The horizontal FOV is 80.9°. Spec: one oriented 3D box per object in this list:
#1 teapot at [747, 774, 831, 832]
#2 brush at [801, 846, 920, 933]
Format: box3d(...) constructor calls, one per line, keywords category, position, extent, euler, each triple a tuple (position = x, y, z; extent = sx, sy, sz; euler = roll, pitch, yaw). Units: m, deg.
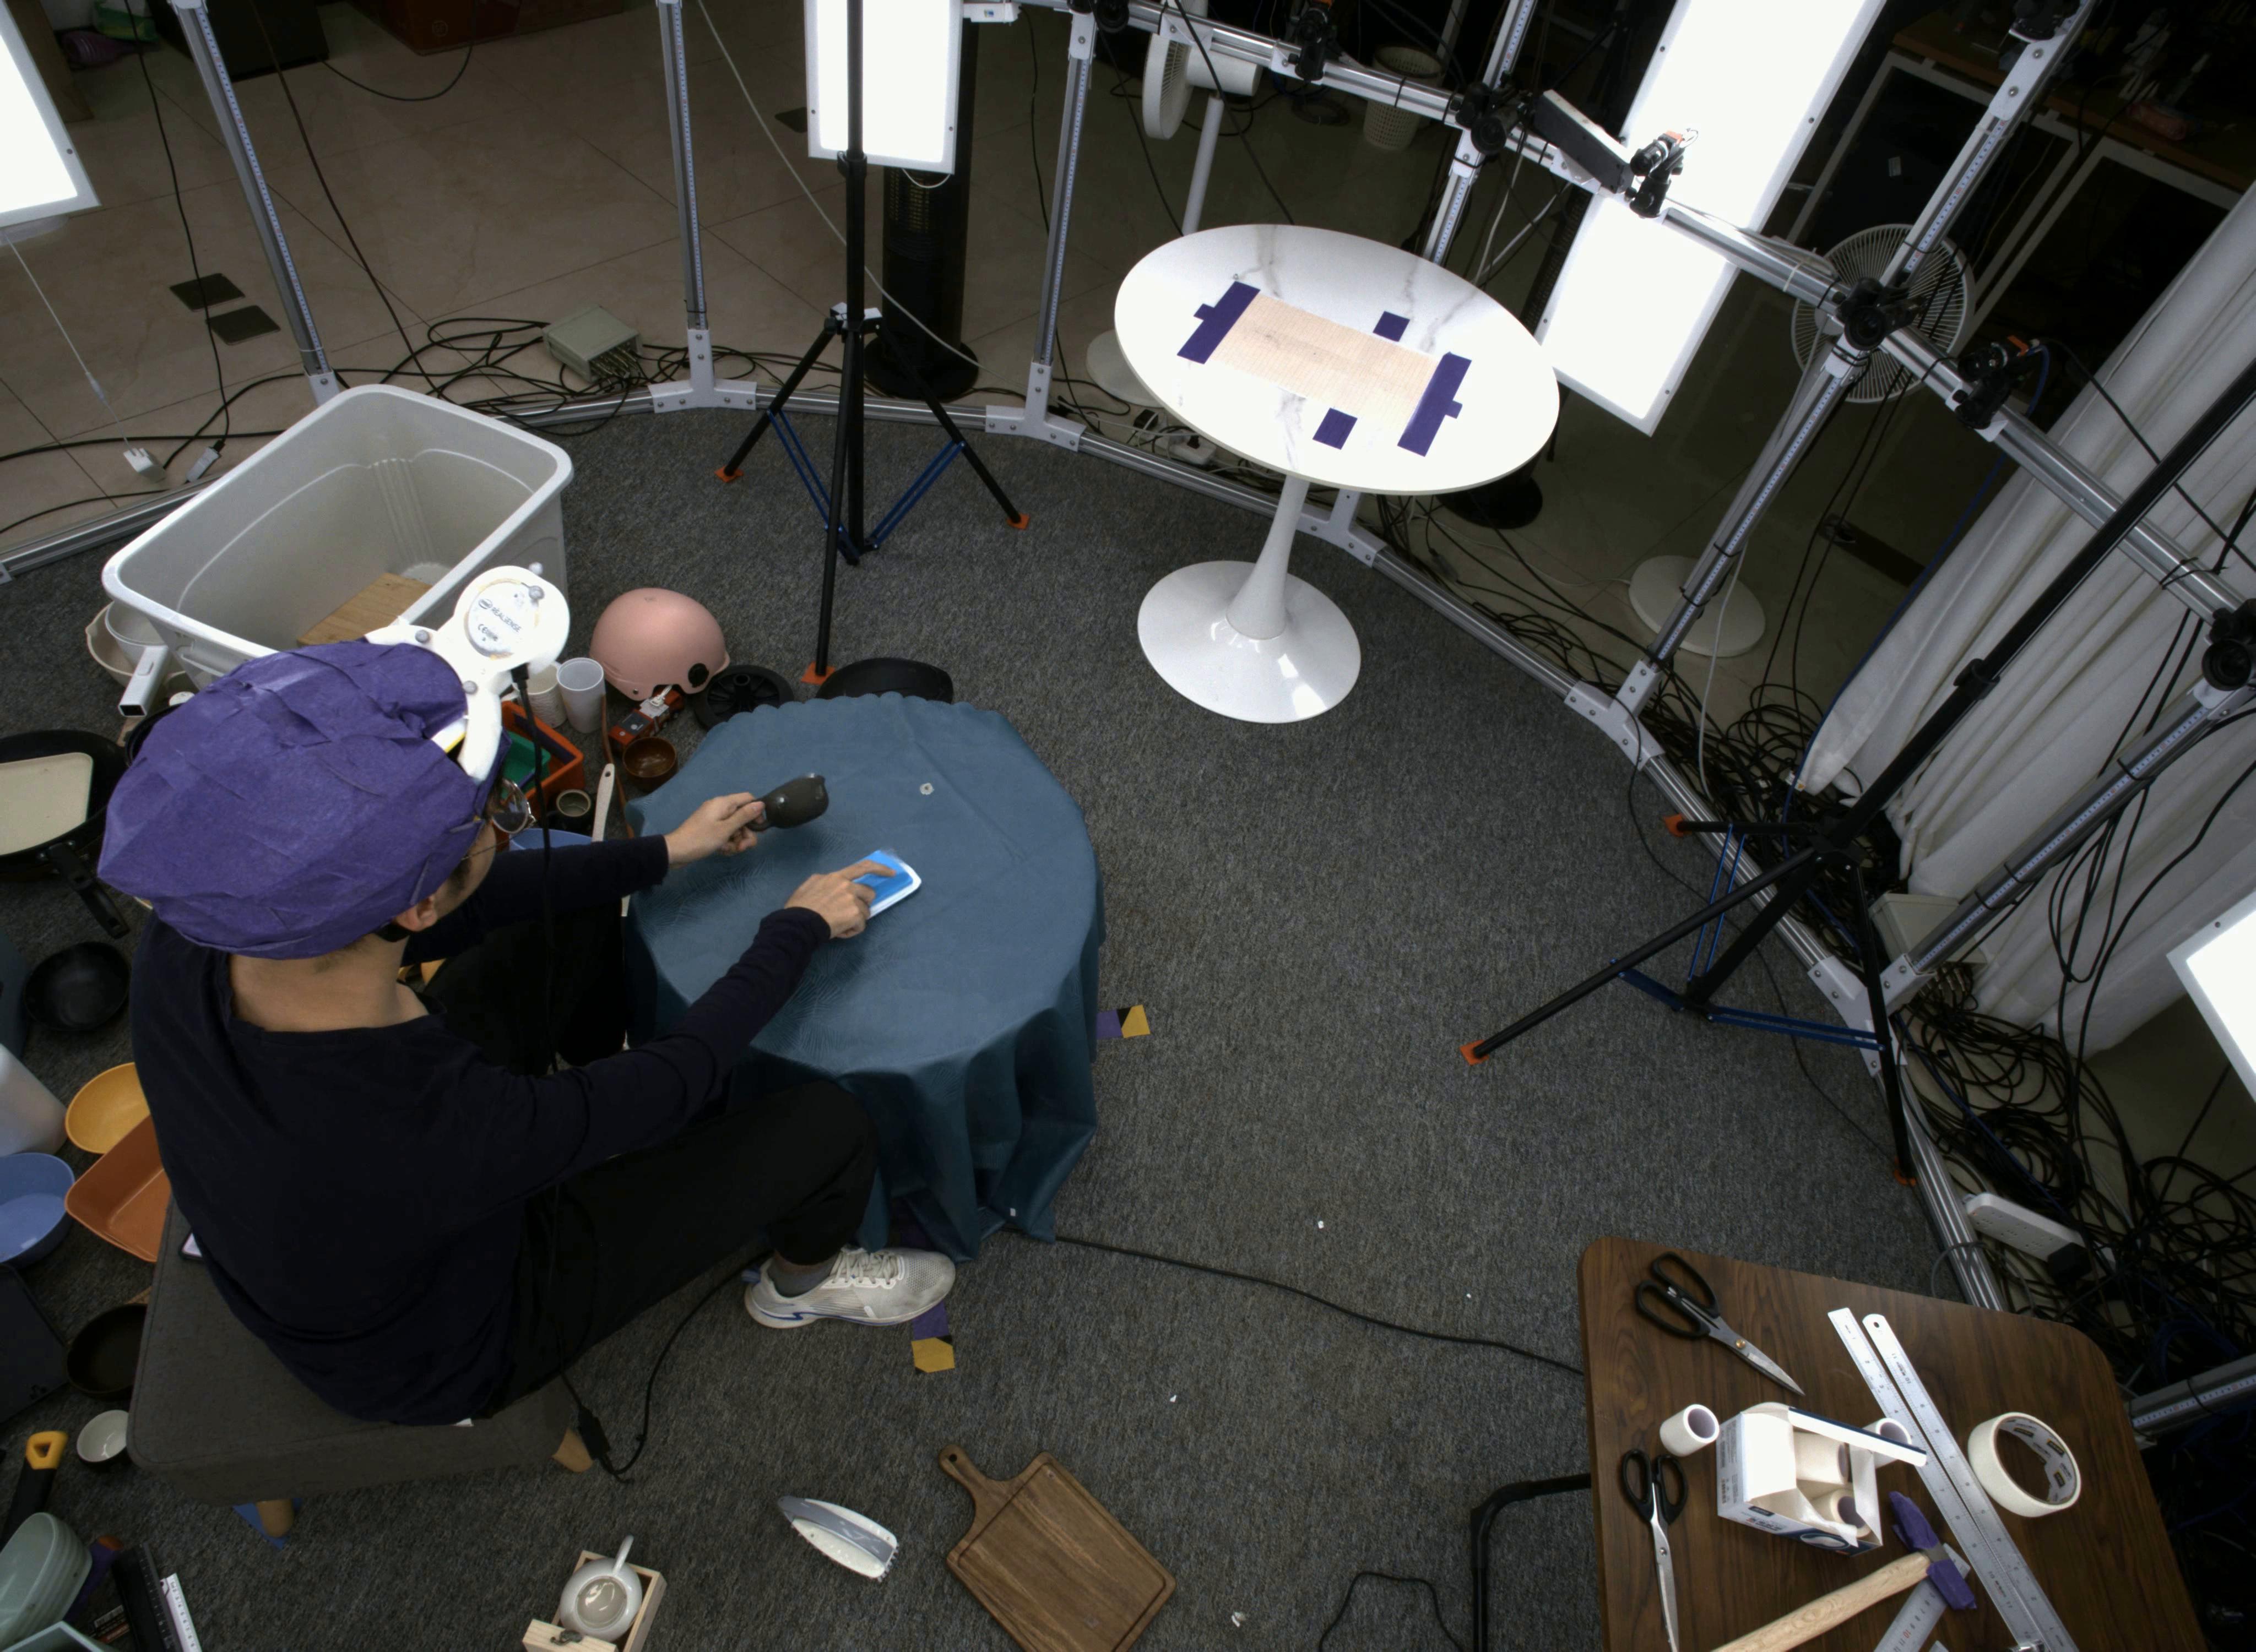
box3d(category="teapot", position=(-0.435, -0.027, 1.667), extent=(0.114, 0.082, 0.053), euler=(-21, 87, -17))
box3d(category="brush", position=(-0.340, 0.072, 1.654), extent=(0.144, 0.057, 0.081), euler=(-28, 61, -33))
